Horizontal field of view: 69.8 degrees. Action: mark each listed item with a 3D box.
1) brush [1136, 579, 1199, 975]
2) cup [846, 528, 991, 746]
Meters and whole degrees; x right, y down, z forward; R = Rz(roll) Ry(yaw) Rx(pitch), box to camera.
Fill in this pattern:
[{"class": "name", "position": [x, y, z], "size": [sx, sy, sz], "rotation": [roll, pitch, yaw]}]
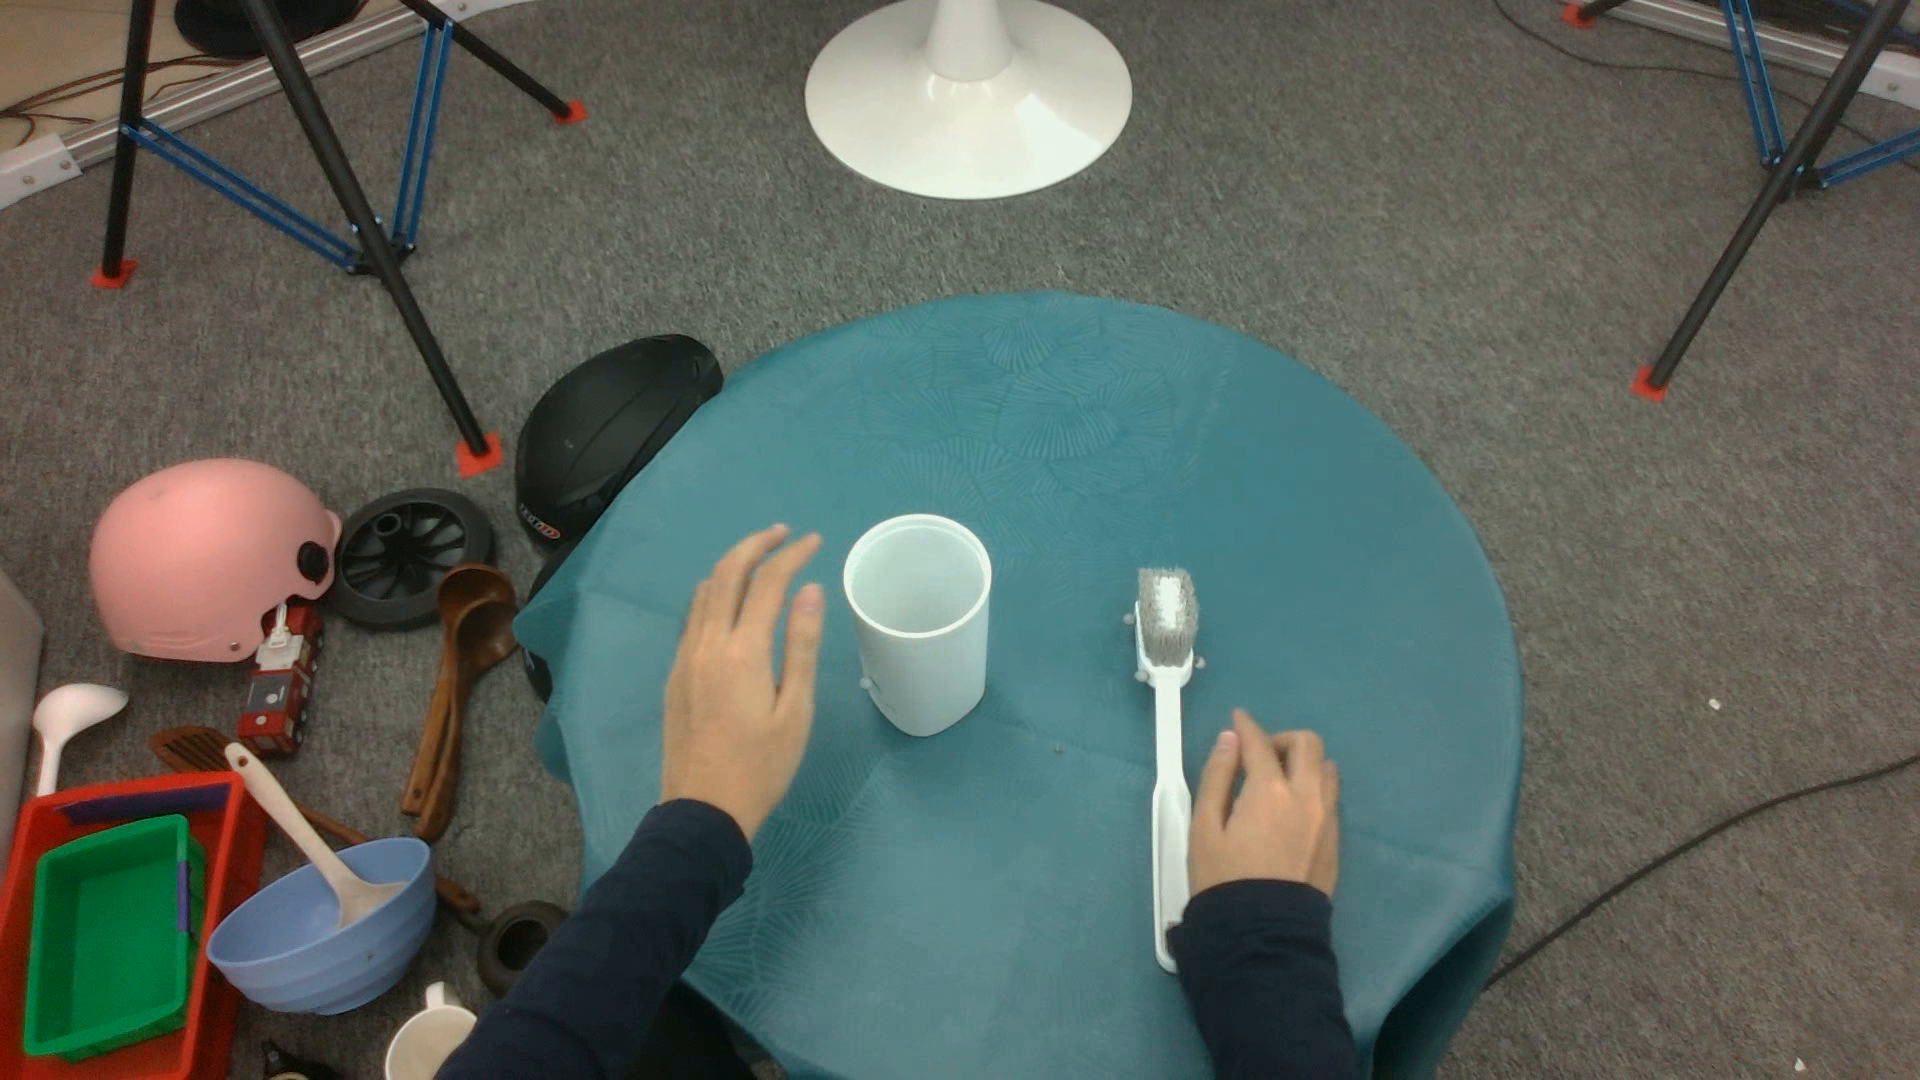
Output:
[{"class": "brush", "position": [0.120, 0.128, 0.809], "size": [0.034, 0.050, 0.245], "rotation": [6, 54, 1]}, {"class": "cup", "position": [-0.022, 0.061, 0.813], "size": [0.081, 0.125, 0.082], "rotation": [-1, 55, 1]}]
